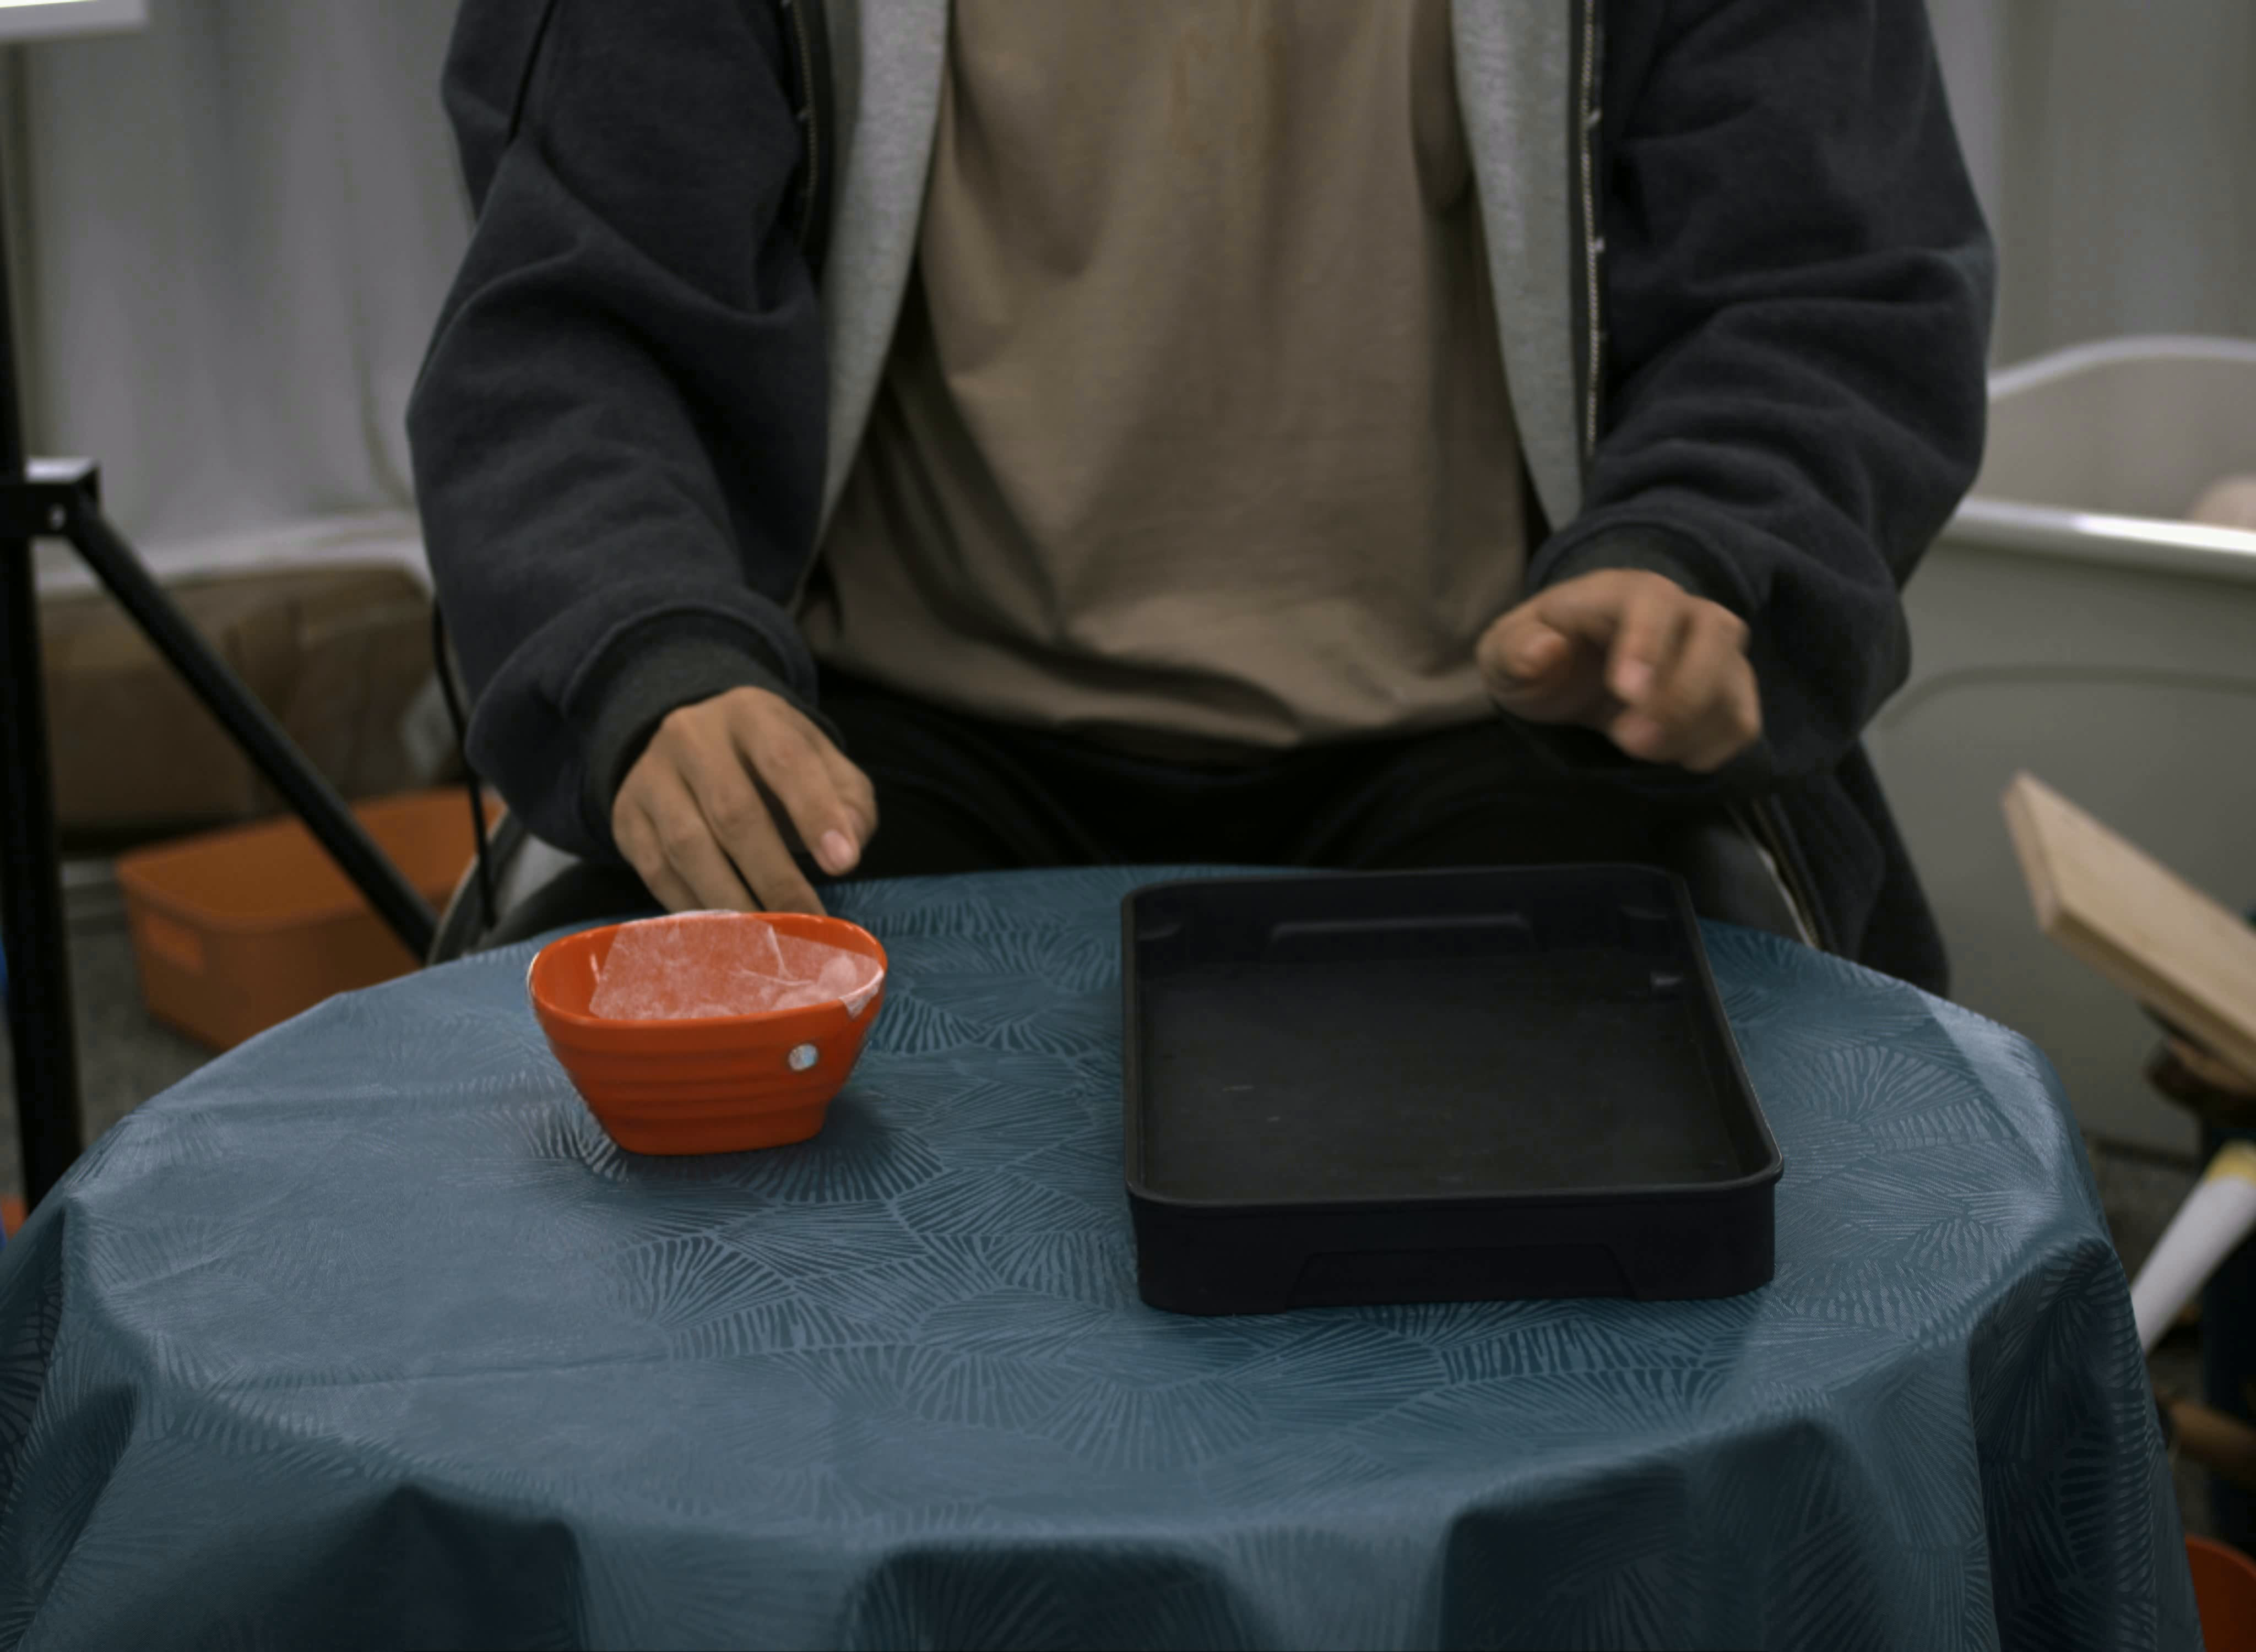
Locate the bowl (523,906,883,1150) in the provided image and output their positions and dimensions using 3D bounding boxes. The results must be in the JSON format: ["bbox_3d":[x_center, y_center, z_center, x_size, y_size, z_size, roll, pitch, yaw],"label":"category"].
[{"bbox_3d":[-0.130,0.064,1.637,0.118,0.051,0.119,-2,16,-1],"label":"bowl"}]

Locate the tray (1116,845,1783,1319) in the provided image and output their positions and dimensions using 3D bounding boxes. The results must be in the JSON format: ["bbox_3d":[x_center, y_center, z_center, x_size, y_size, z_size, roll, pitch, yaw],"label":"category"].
[{"bbox_3d":[0.089,0.072,1.601,0.183,0.037,0.319,-2,17,1],"label":"tray"}]
